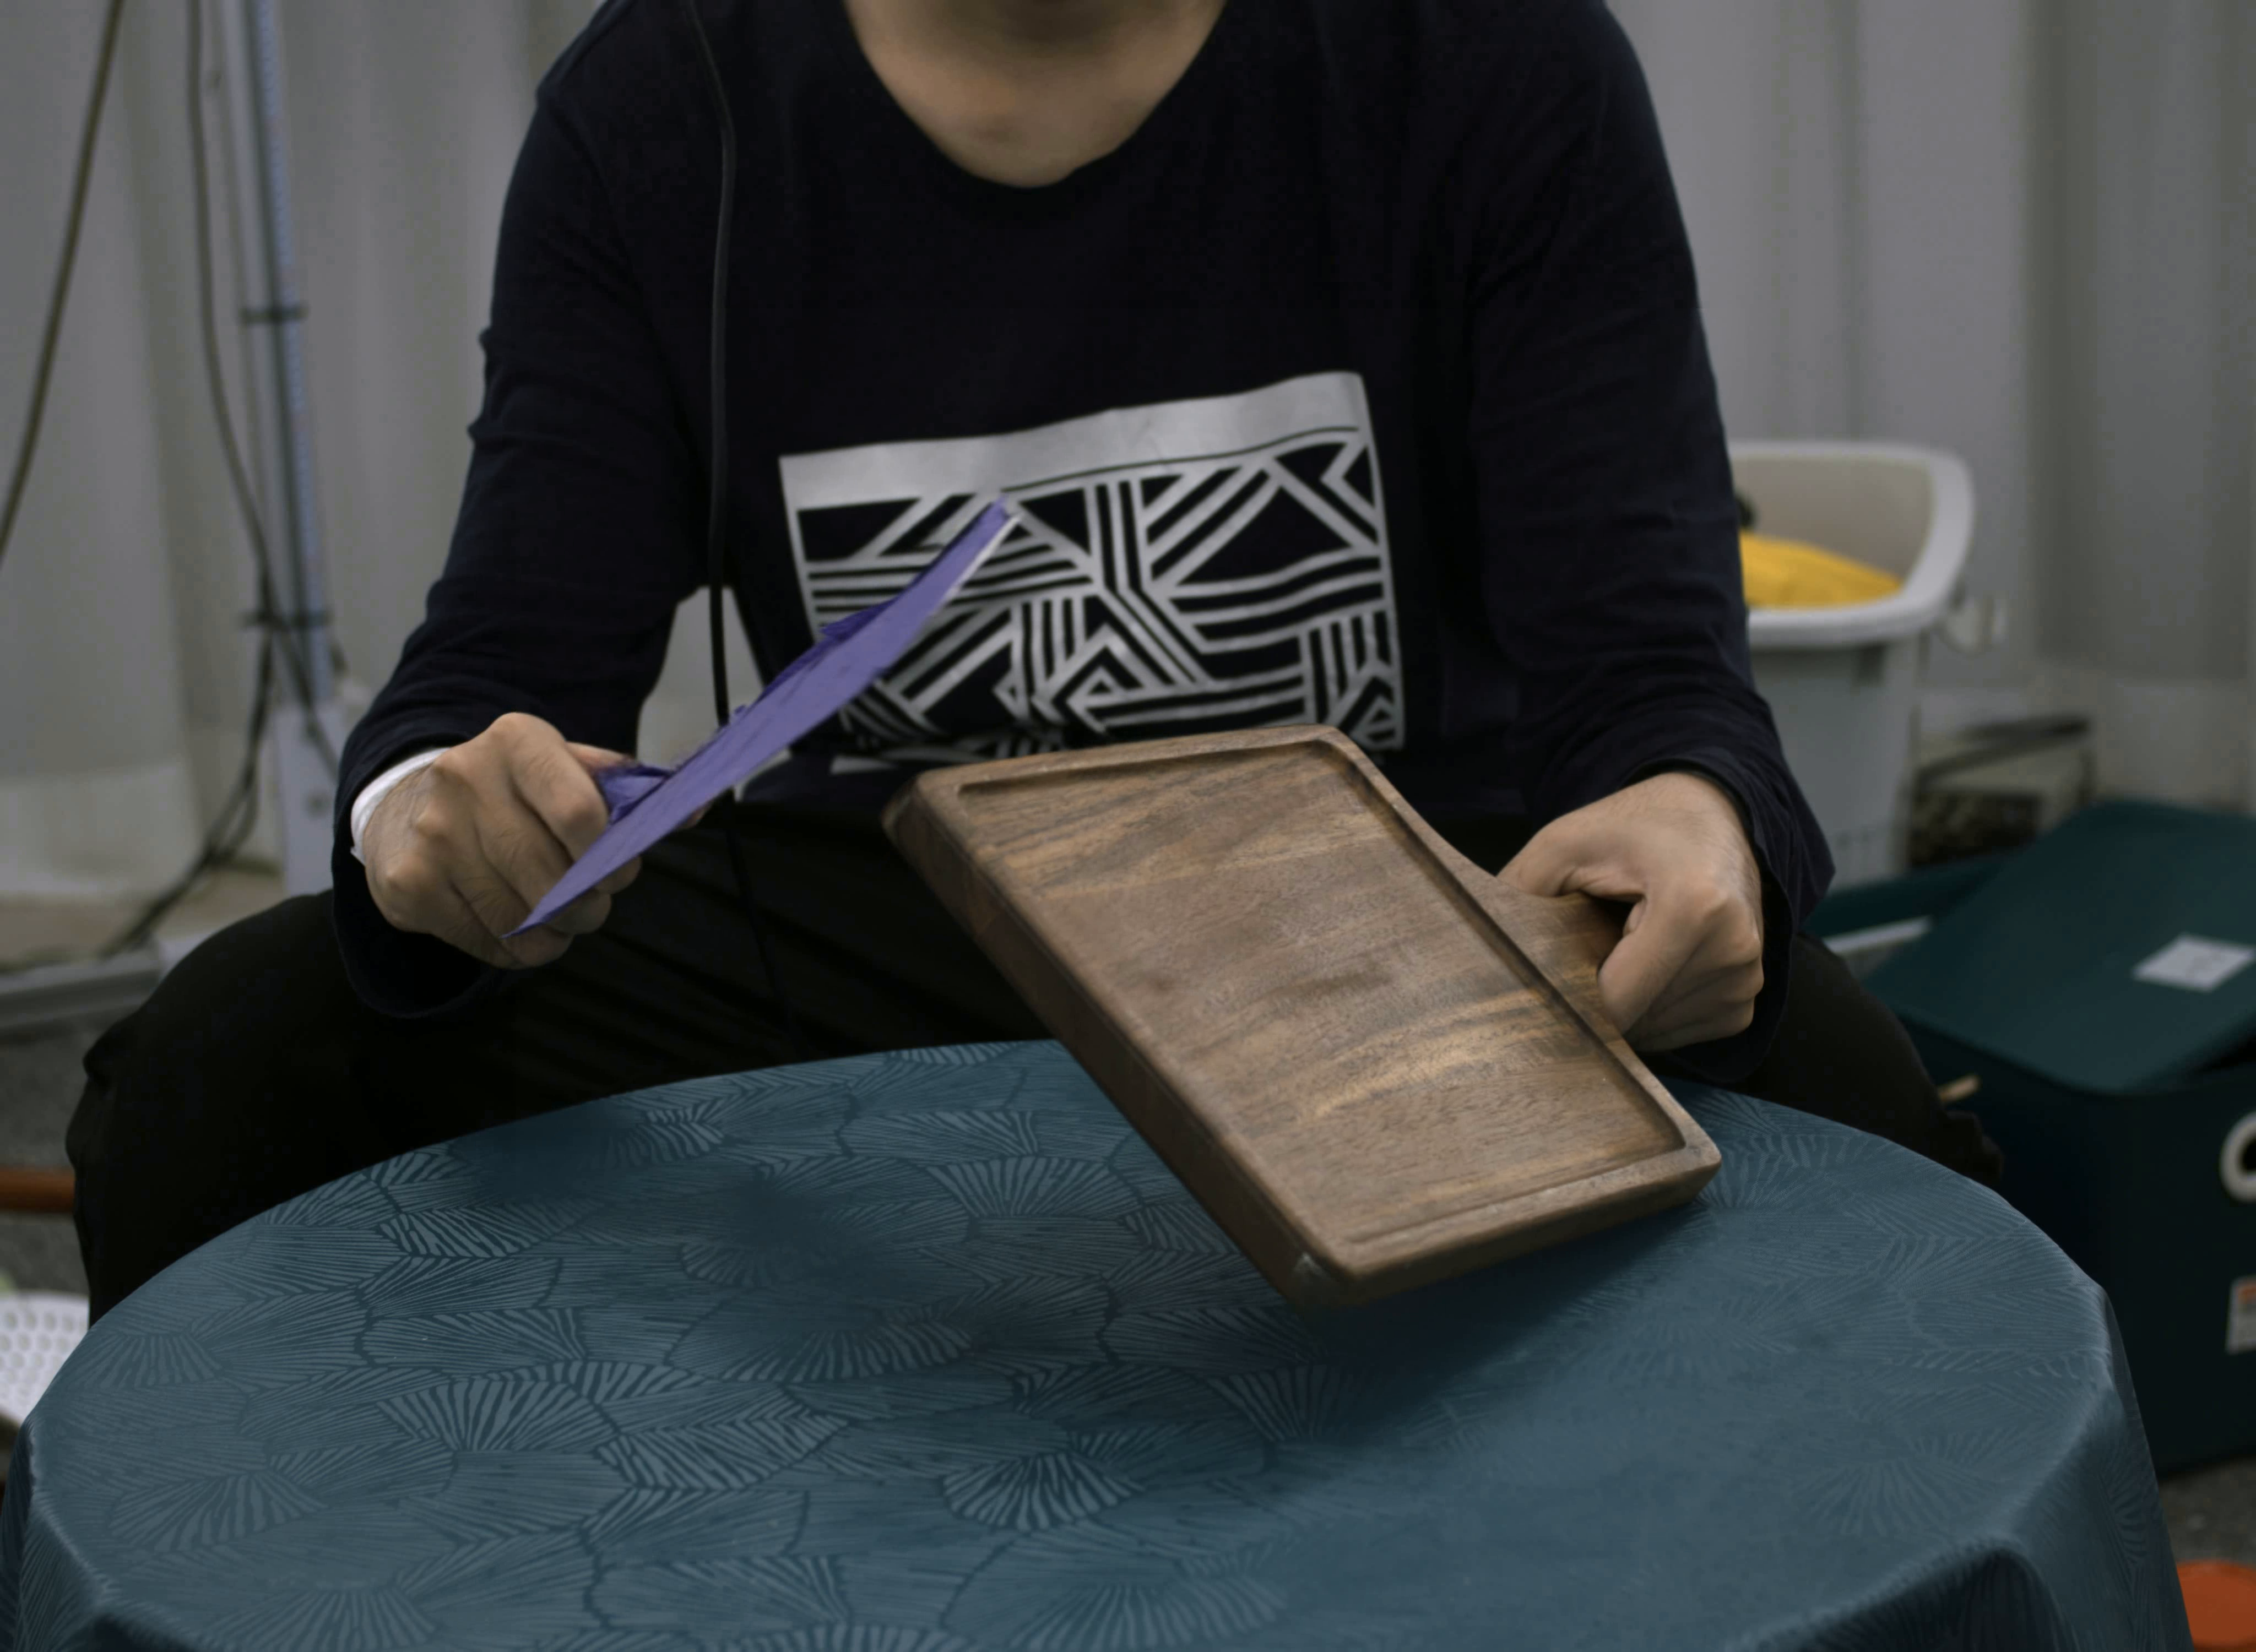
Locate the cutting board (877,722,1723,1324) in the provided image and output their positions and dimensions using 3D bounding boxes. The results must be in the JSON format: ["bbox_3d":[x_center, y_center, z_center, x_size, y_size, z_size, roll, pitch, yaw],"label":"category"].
[{"bbox_3d":[0.082,0.048,1.654,0.203,0.023,0.351,48,26,19],"label":"cutting board"}]

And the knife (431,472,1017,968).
[{"bbox_3d":[-0.144,-0.014,1.667,0.313,0.032,0.104,-37,9,46],"label":"knife"}]
